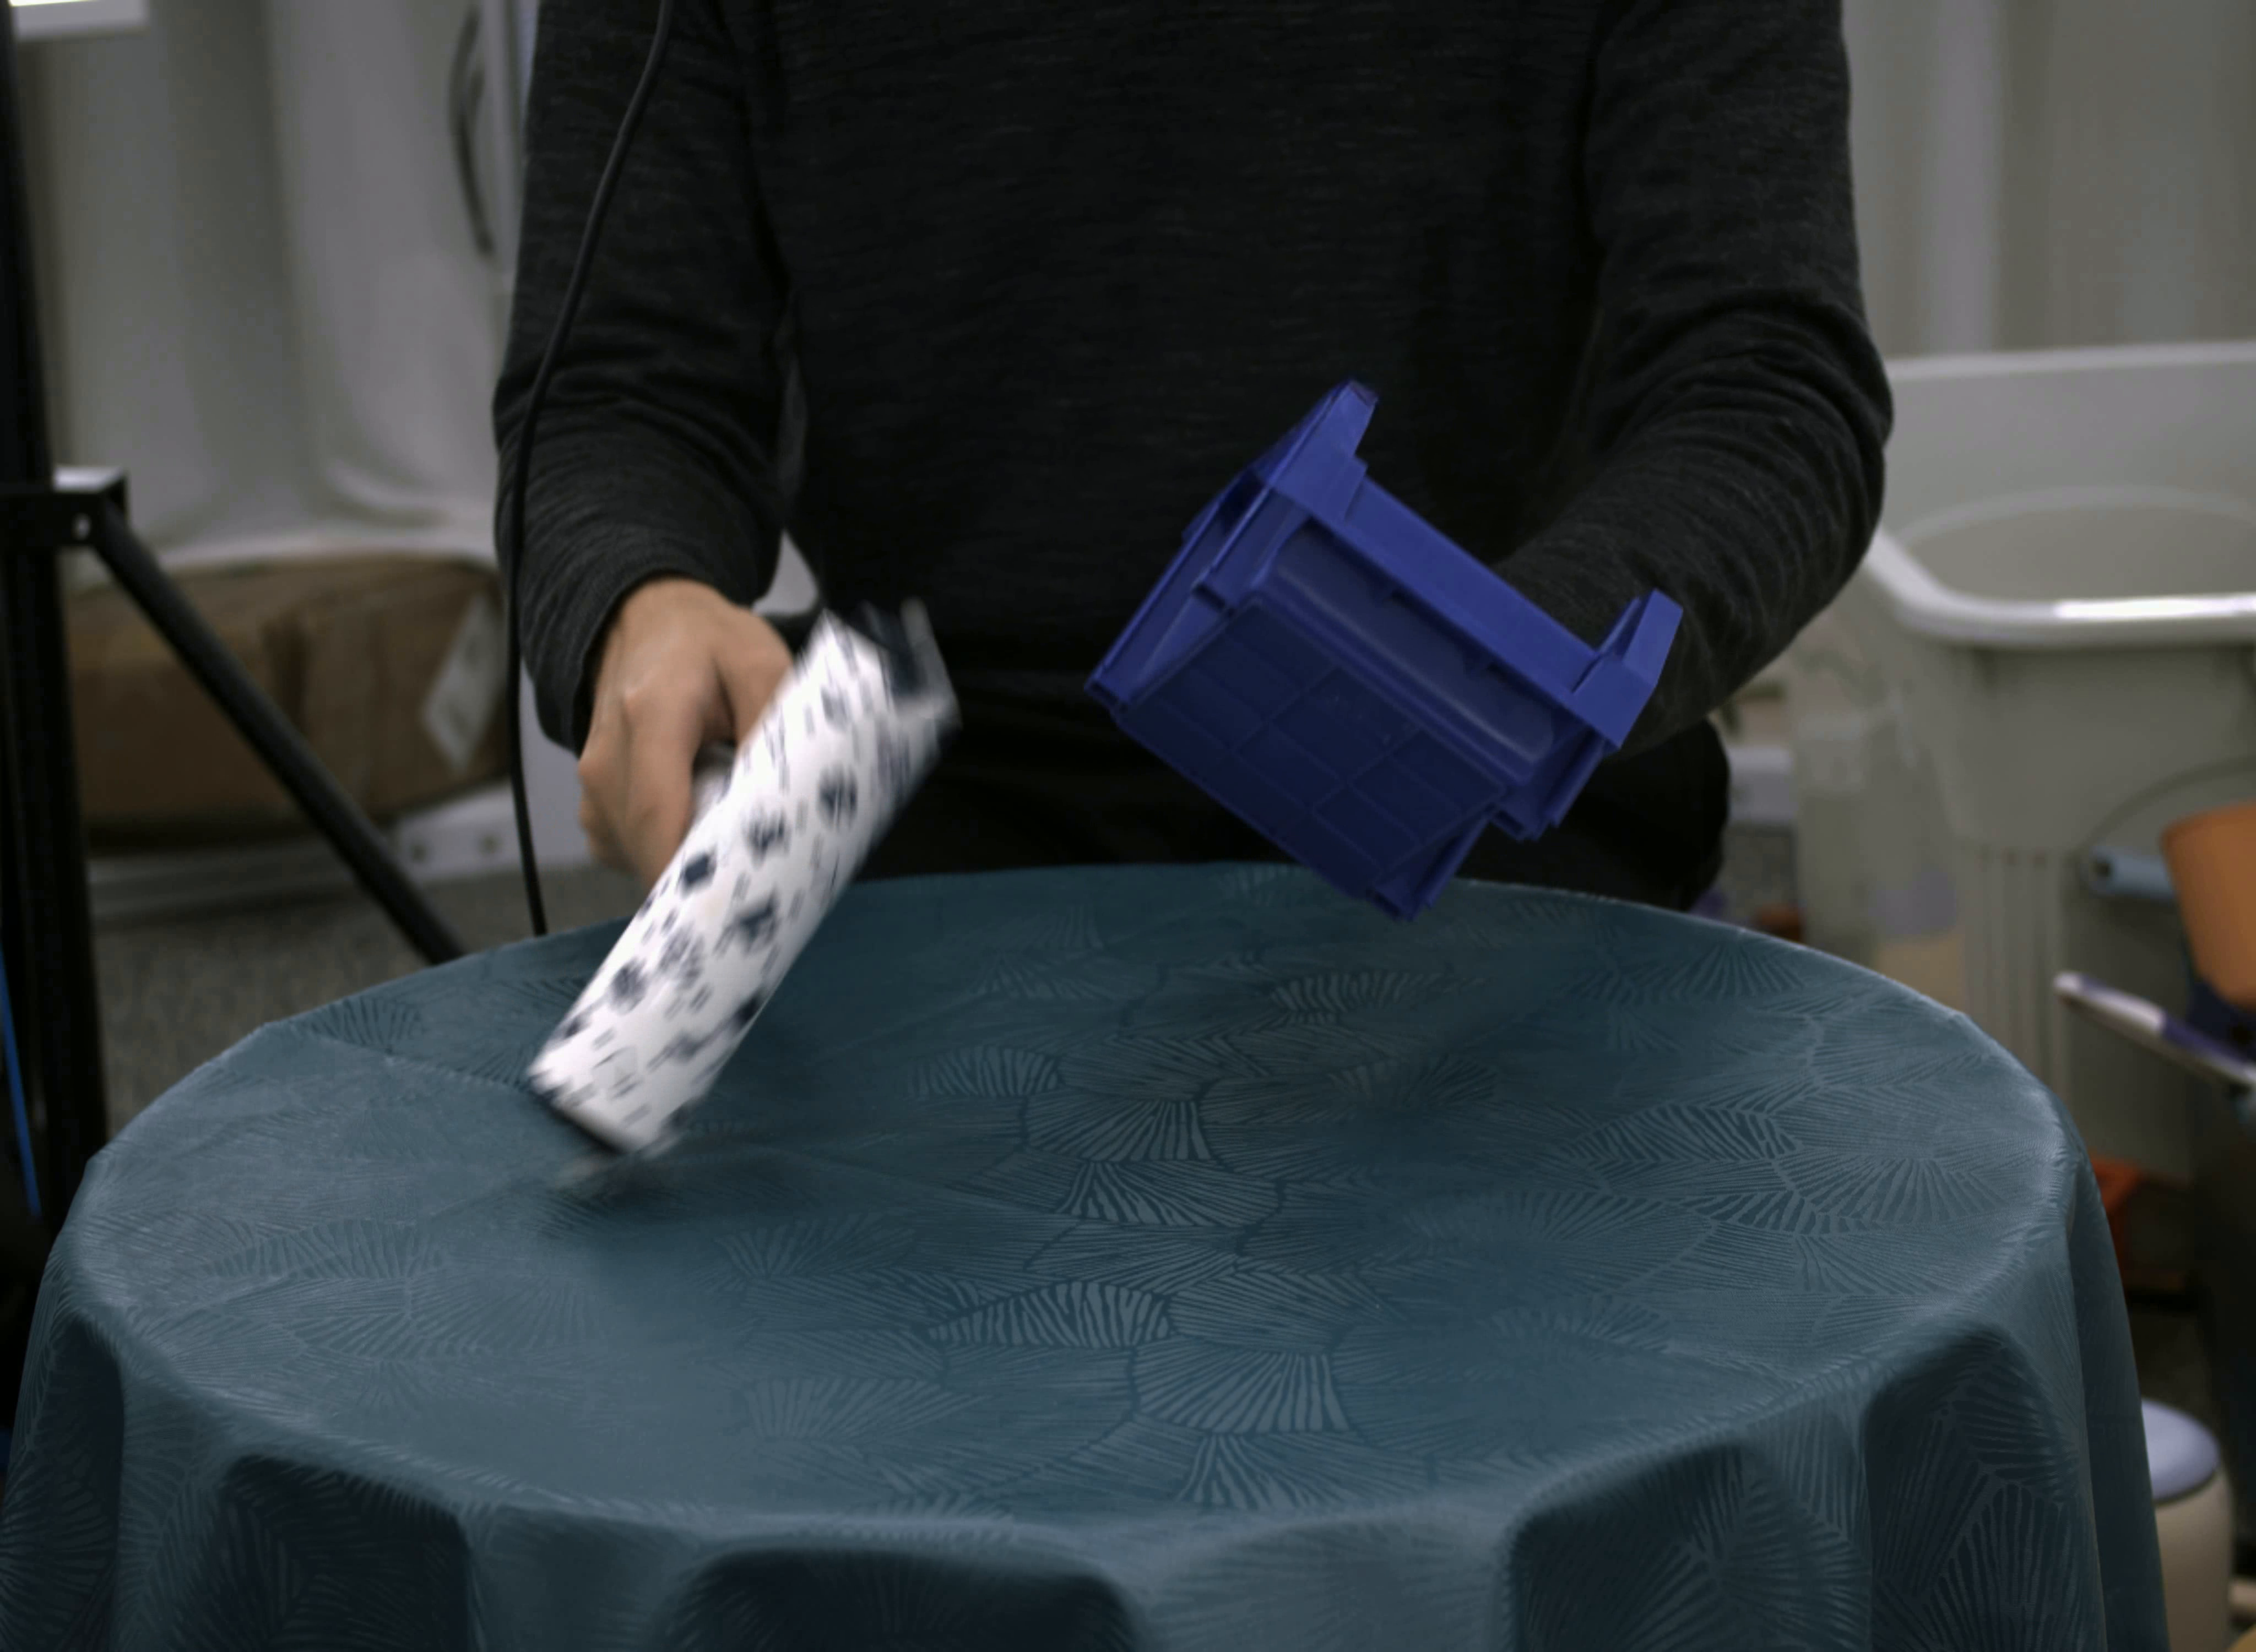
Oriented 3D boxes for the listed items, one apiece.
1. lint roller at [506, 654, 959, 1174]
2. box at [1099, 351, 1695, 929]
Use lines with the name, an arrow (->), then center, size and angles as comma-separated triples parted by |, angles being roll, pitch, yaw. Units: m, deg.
lint roller -> -0.132, 0.009, 1.666 | 0.050, 0.176, 0.249 | 38, 3, -14
box -> 0.080, -0.052, 1.551 | 0.081, 0.124, 0.181 | -54, 3, -24
